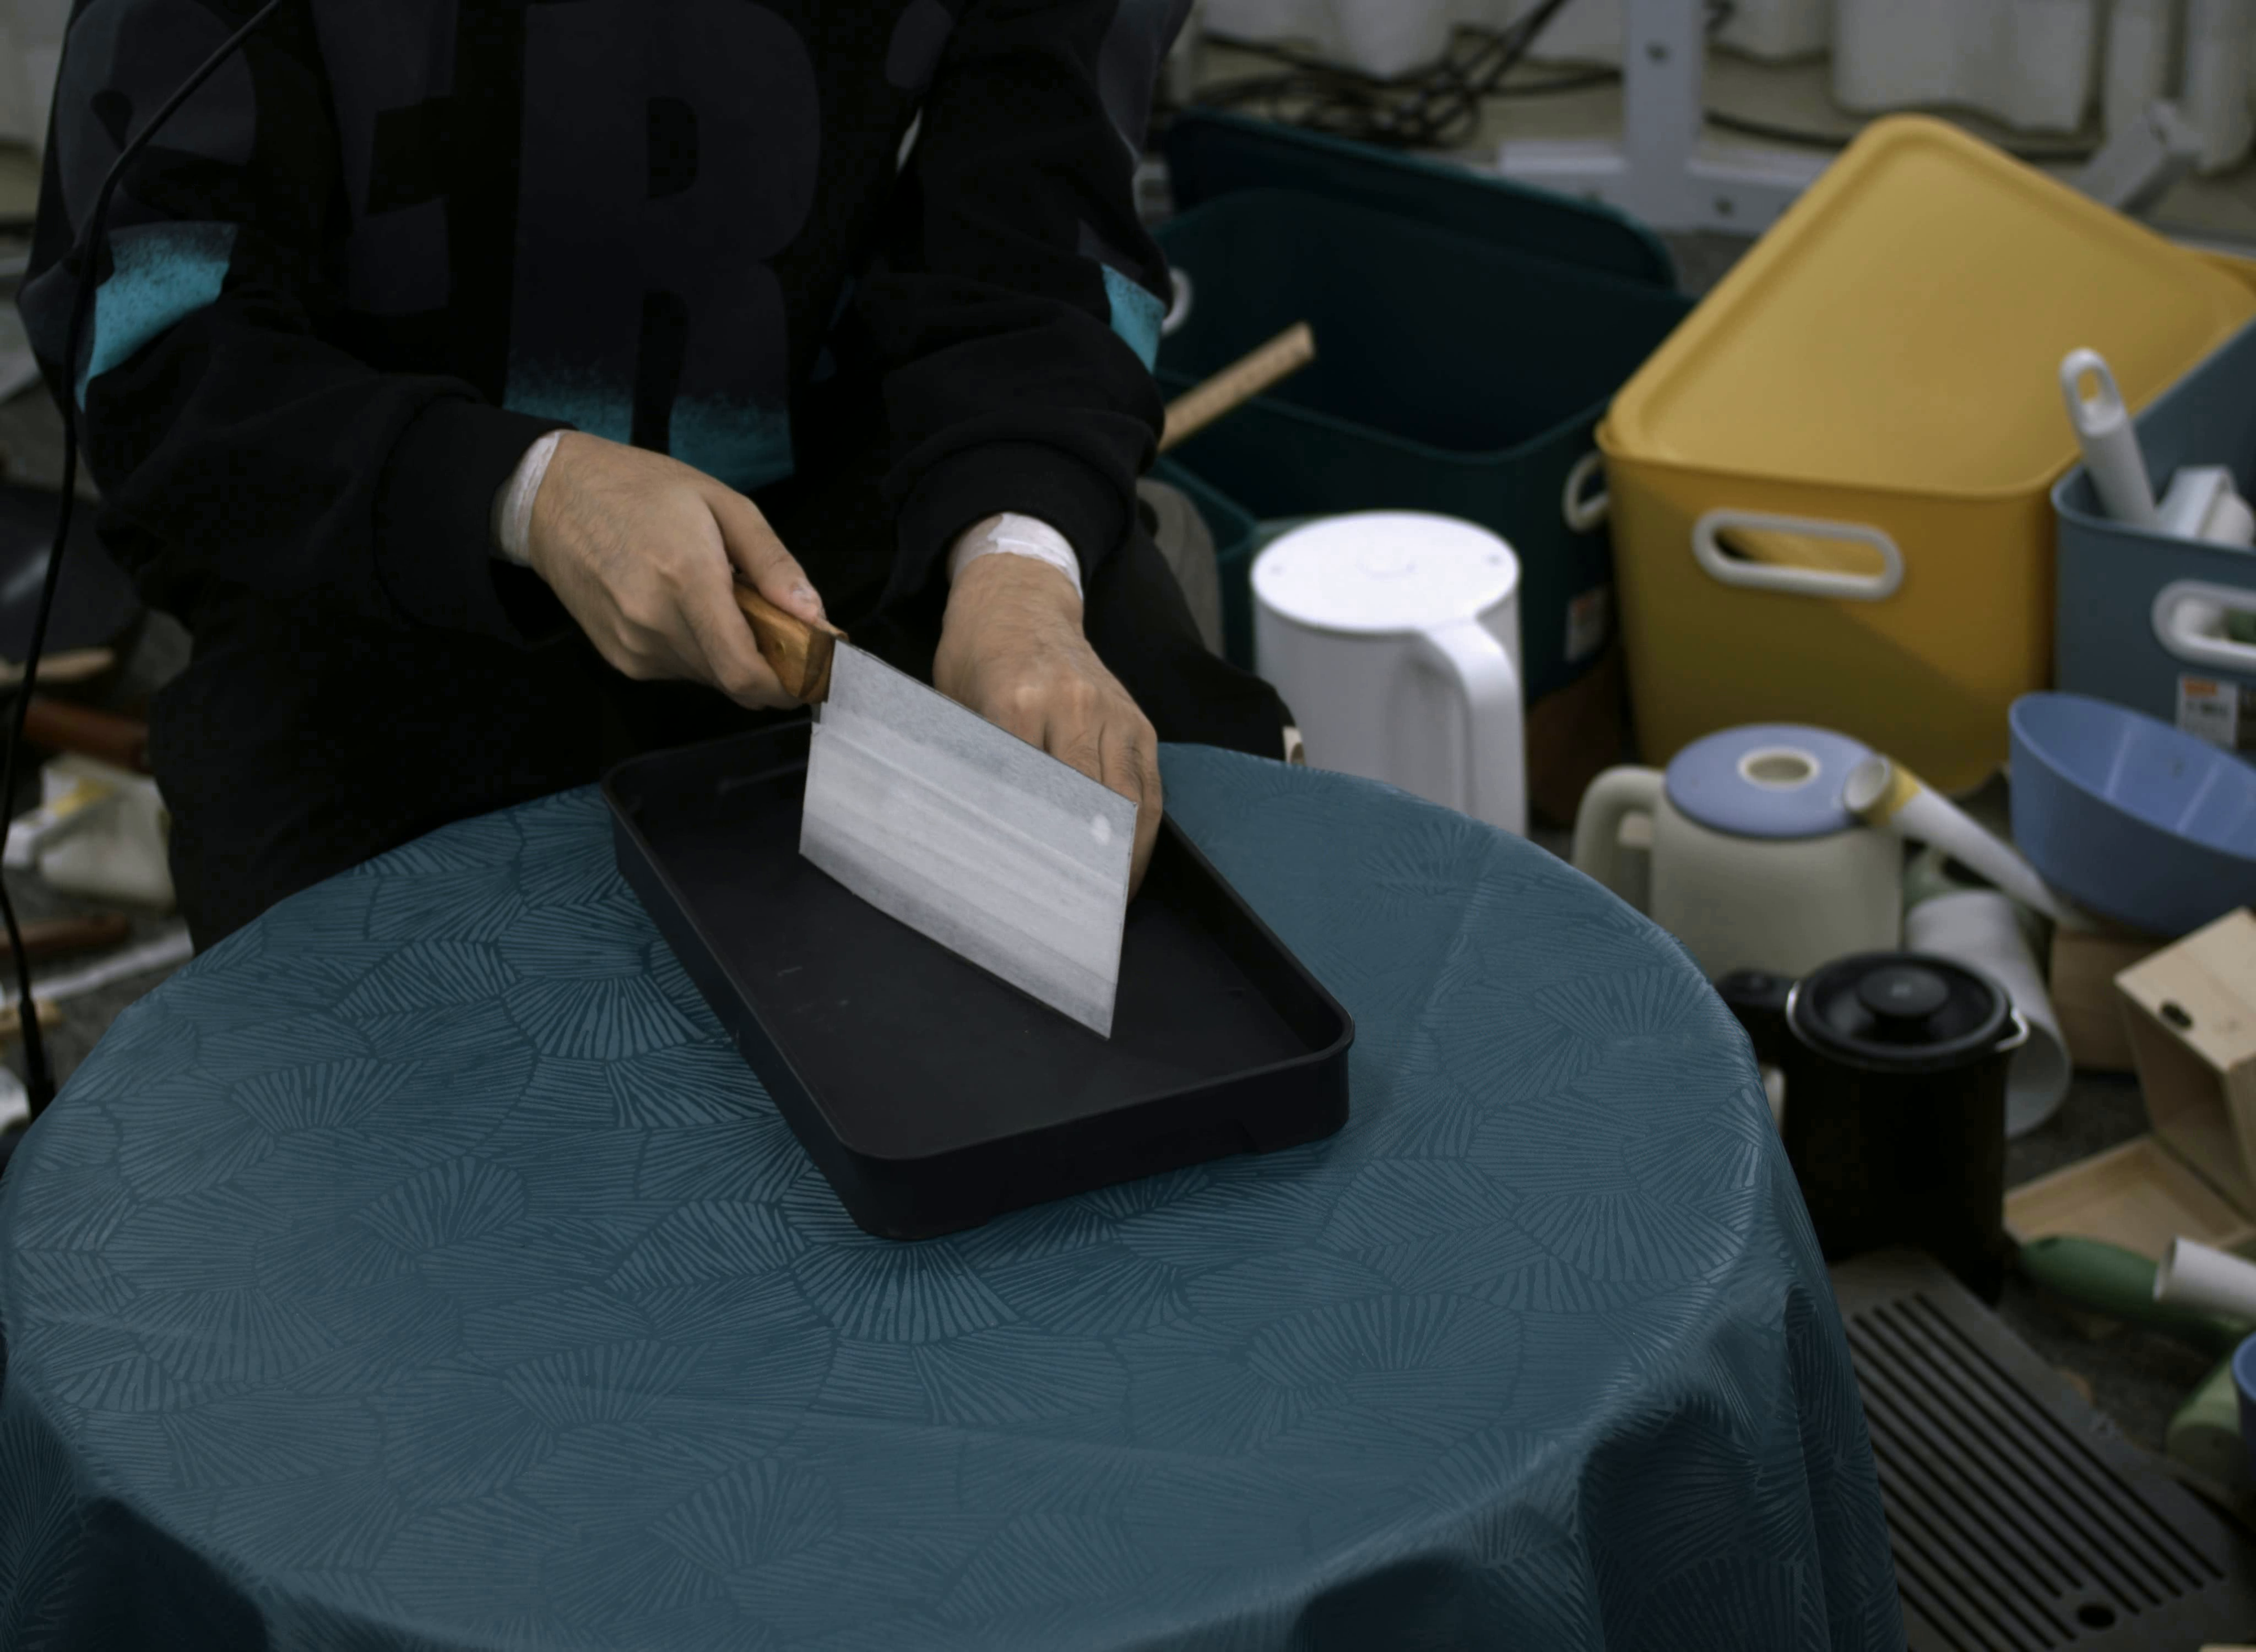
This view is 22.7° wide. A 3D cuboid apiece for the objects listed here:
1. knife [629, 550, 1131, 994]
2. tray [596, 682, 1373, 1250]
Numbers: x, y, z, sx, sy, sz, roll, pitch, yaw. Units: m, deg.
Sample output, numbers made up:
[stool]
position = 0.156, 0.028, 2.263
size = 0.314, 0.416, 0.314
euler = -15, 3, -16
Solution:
[knife]
position = -0.093, -0.019, 2.029
size = 0.021, 0.092, 0.306
euler = -8, 24, -37
[tray]
position = -0.056, 0.043, 1.980
size = 0.185, 0.036, 0.320
euler = -14, 29, -19
